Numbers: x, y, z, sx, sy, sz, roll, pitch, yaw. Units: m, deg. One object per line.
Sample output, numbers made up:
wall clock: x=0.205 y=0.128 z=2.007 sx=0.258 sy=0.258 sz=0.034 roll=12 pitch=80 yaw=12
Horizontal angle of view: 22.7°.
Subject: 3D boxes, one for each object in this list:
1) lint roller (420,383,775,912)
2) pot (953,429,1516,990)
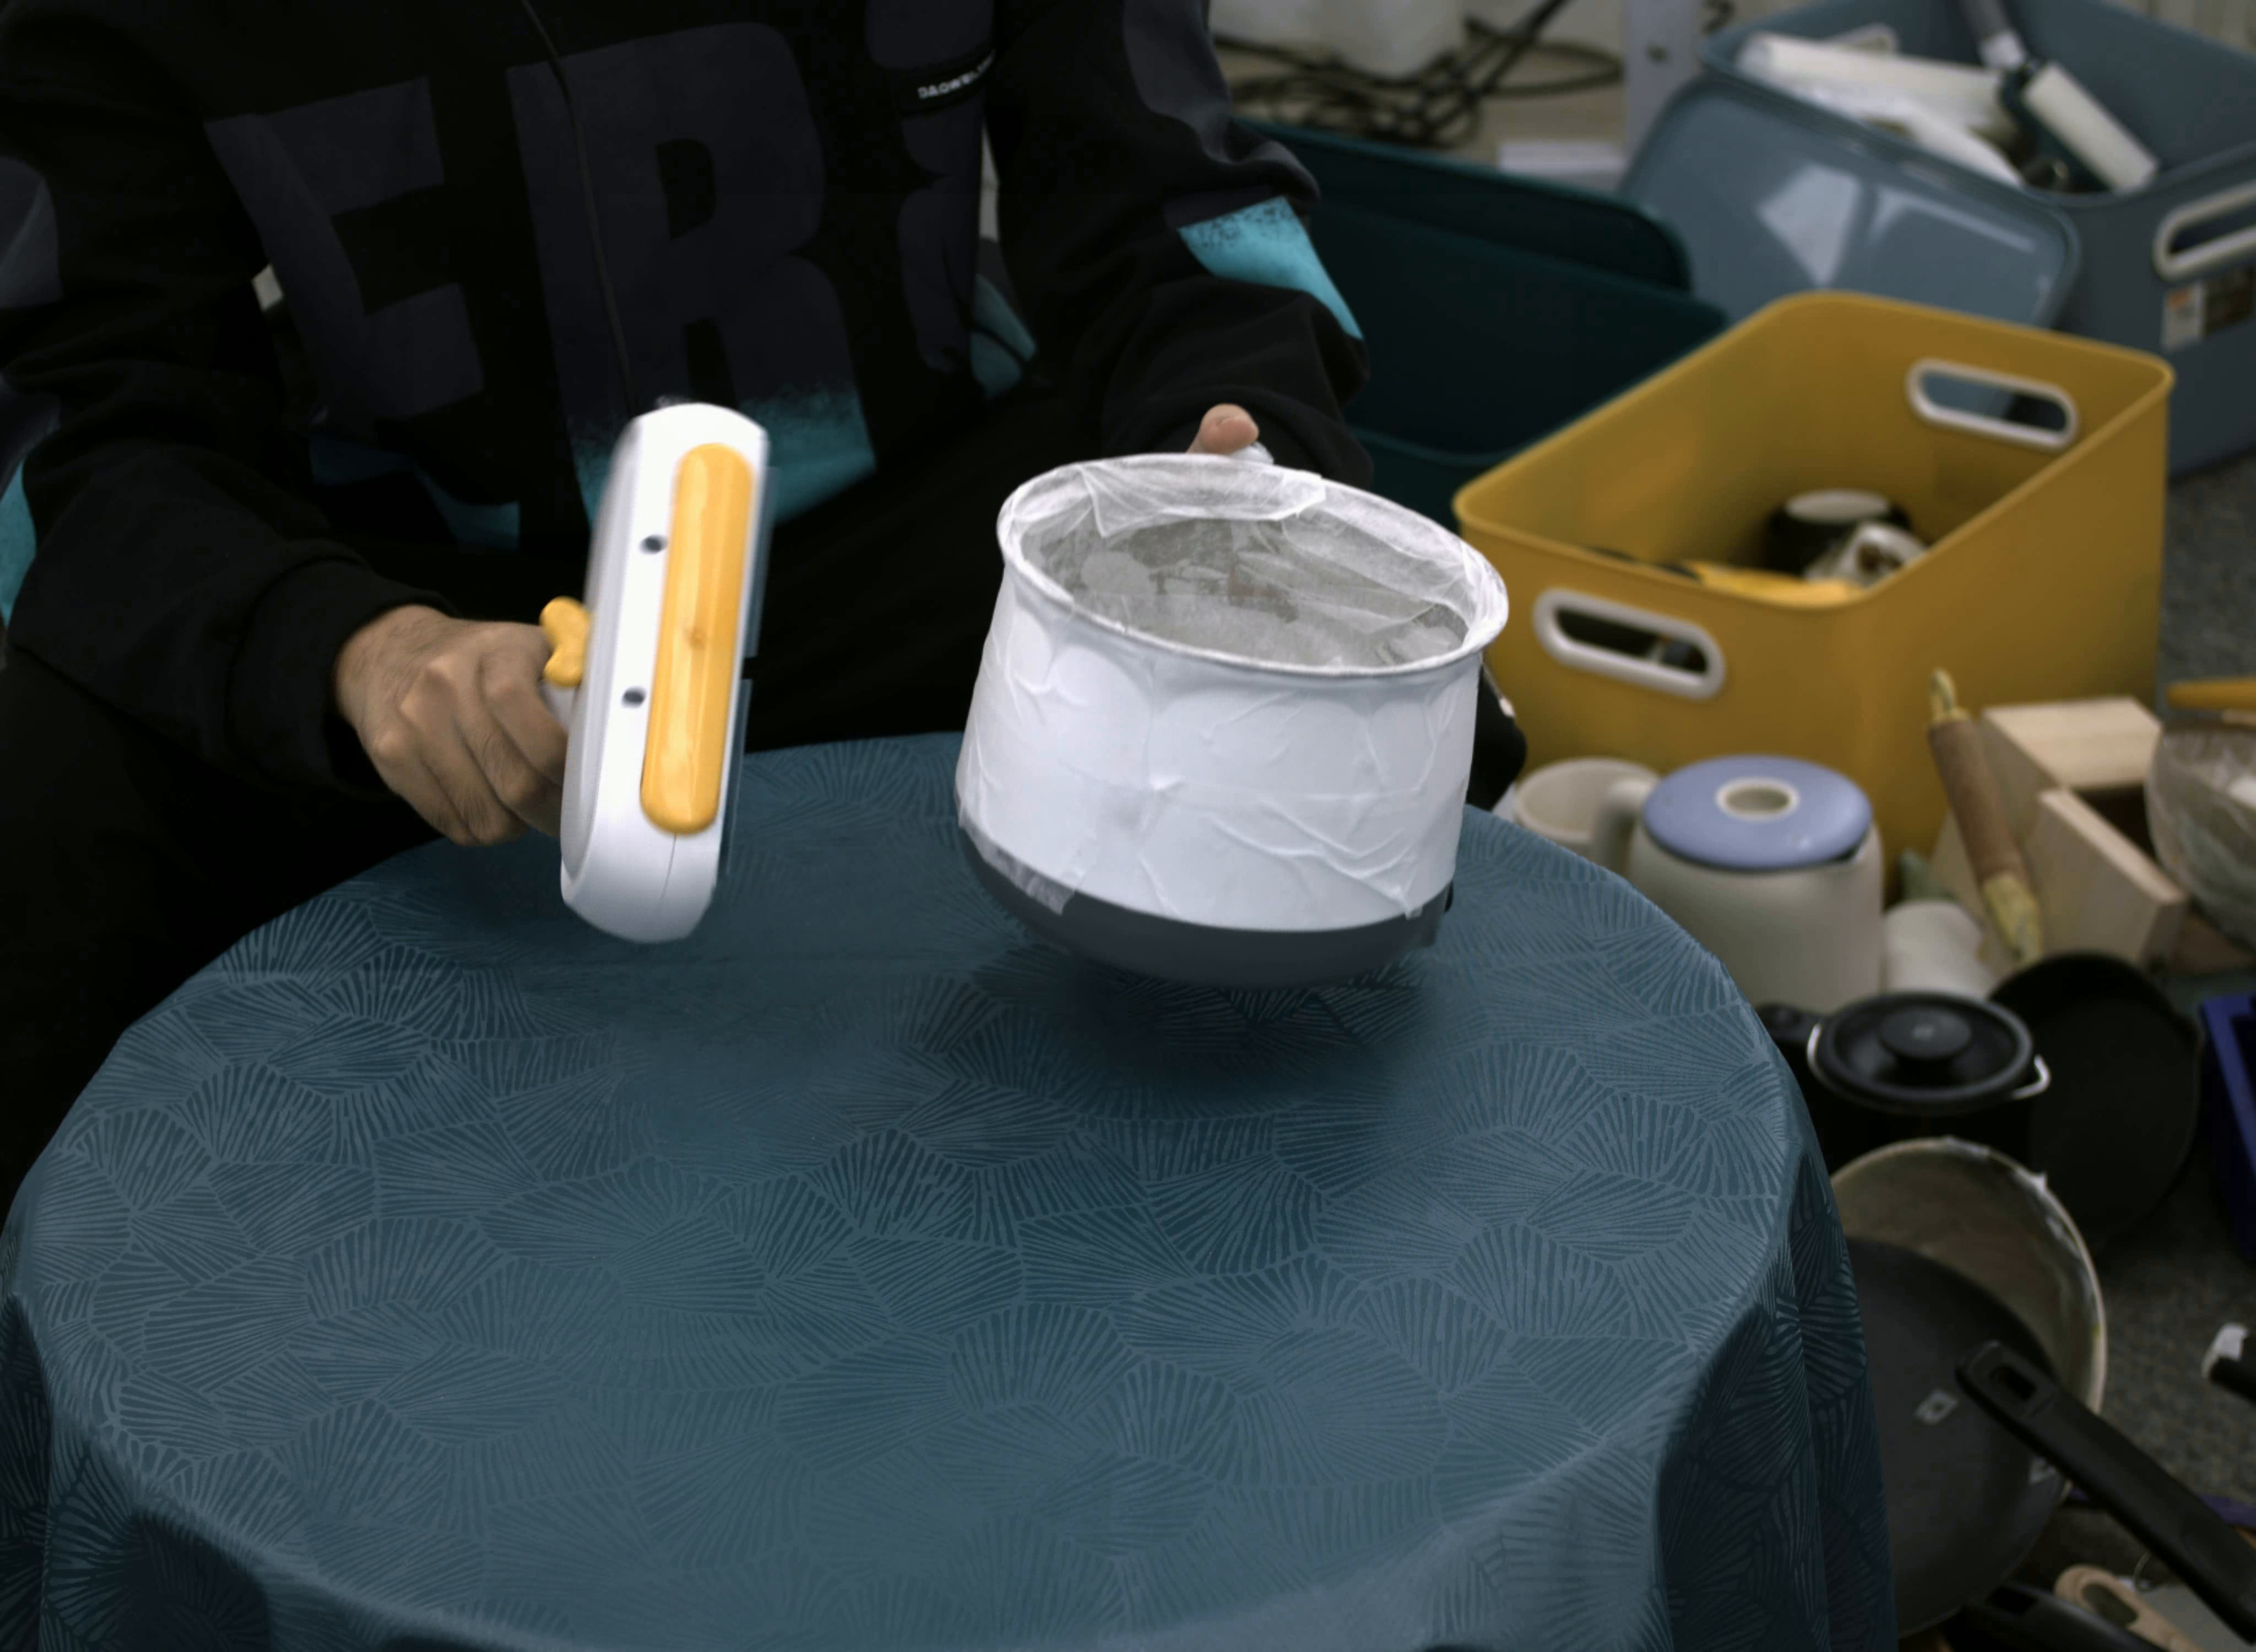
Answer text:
lint roller: x=-0.189 y=-0.041 z=1.983 sx=0.074 sy=0.189 sz=0.196 roll=14 pitch=60 yaw=-24
pot: x=0.032 y=-0.049 z=1.954 sx=0.178 sy=0.135 sz=0.237 roll=10 pitch=25 yaw=-6
